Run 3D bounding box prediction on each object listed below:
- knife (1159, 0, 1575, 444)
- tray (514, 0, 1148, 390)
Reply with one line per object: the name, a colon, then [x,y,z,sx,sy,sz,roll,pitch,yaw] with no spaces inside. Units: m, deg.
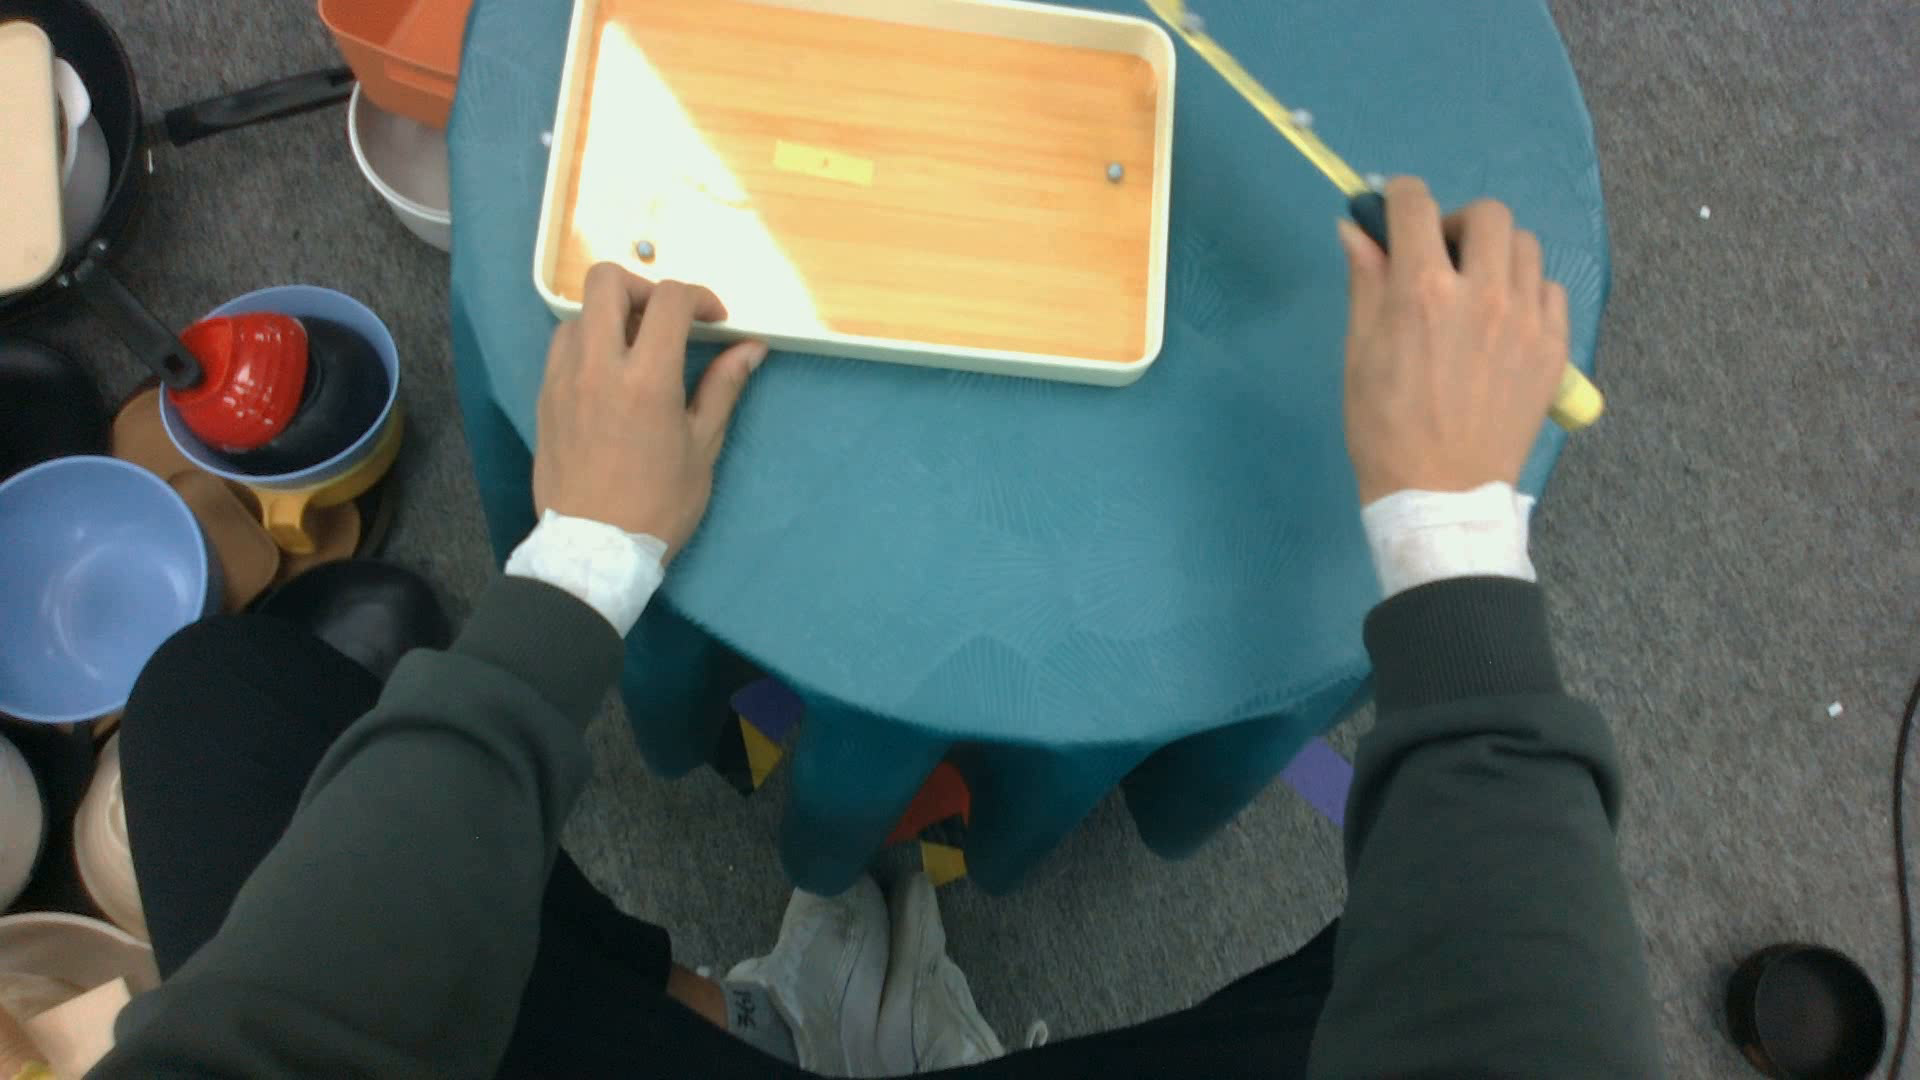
knife: [0.185,-0.160,0.646,0.290,0.027,0.081,52,34,11]
tray: [-0.057,-0.180,0.691,0.300,0.027,0.192,5,75,-5]
